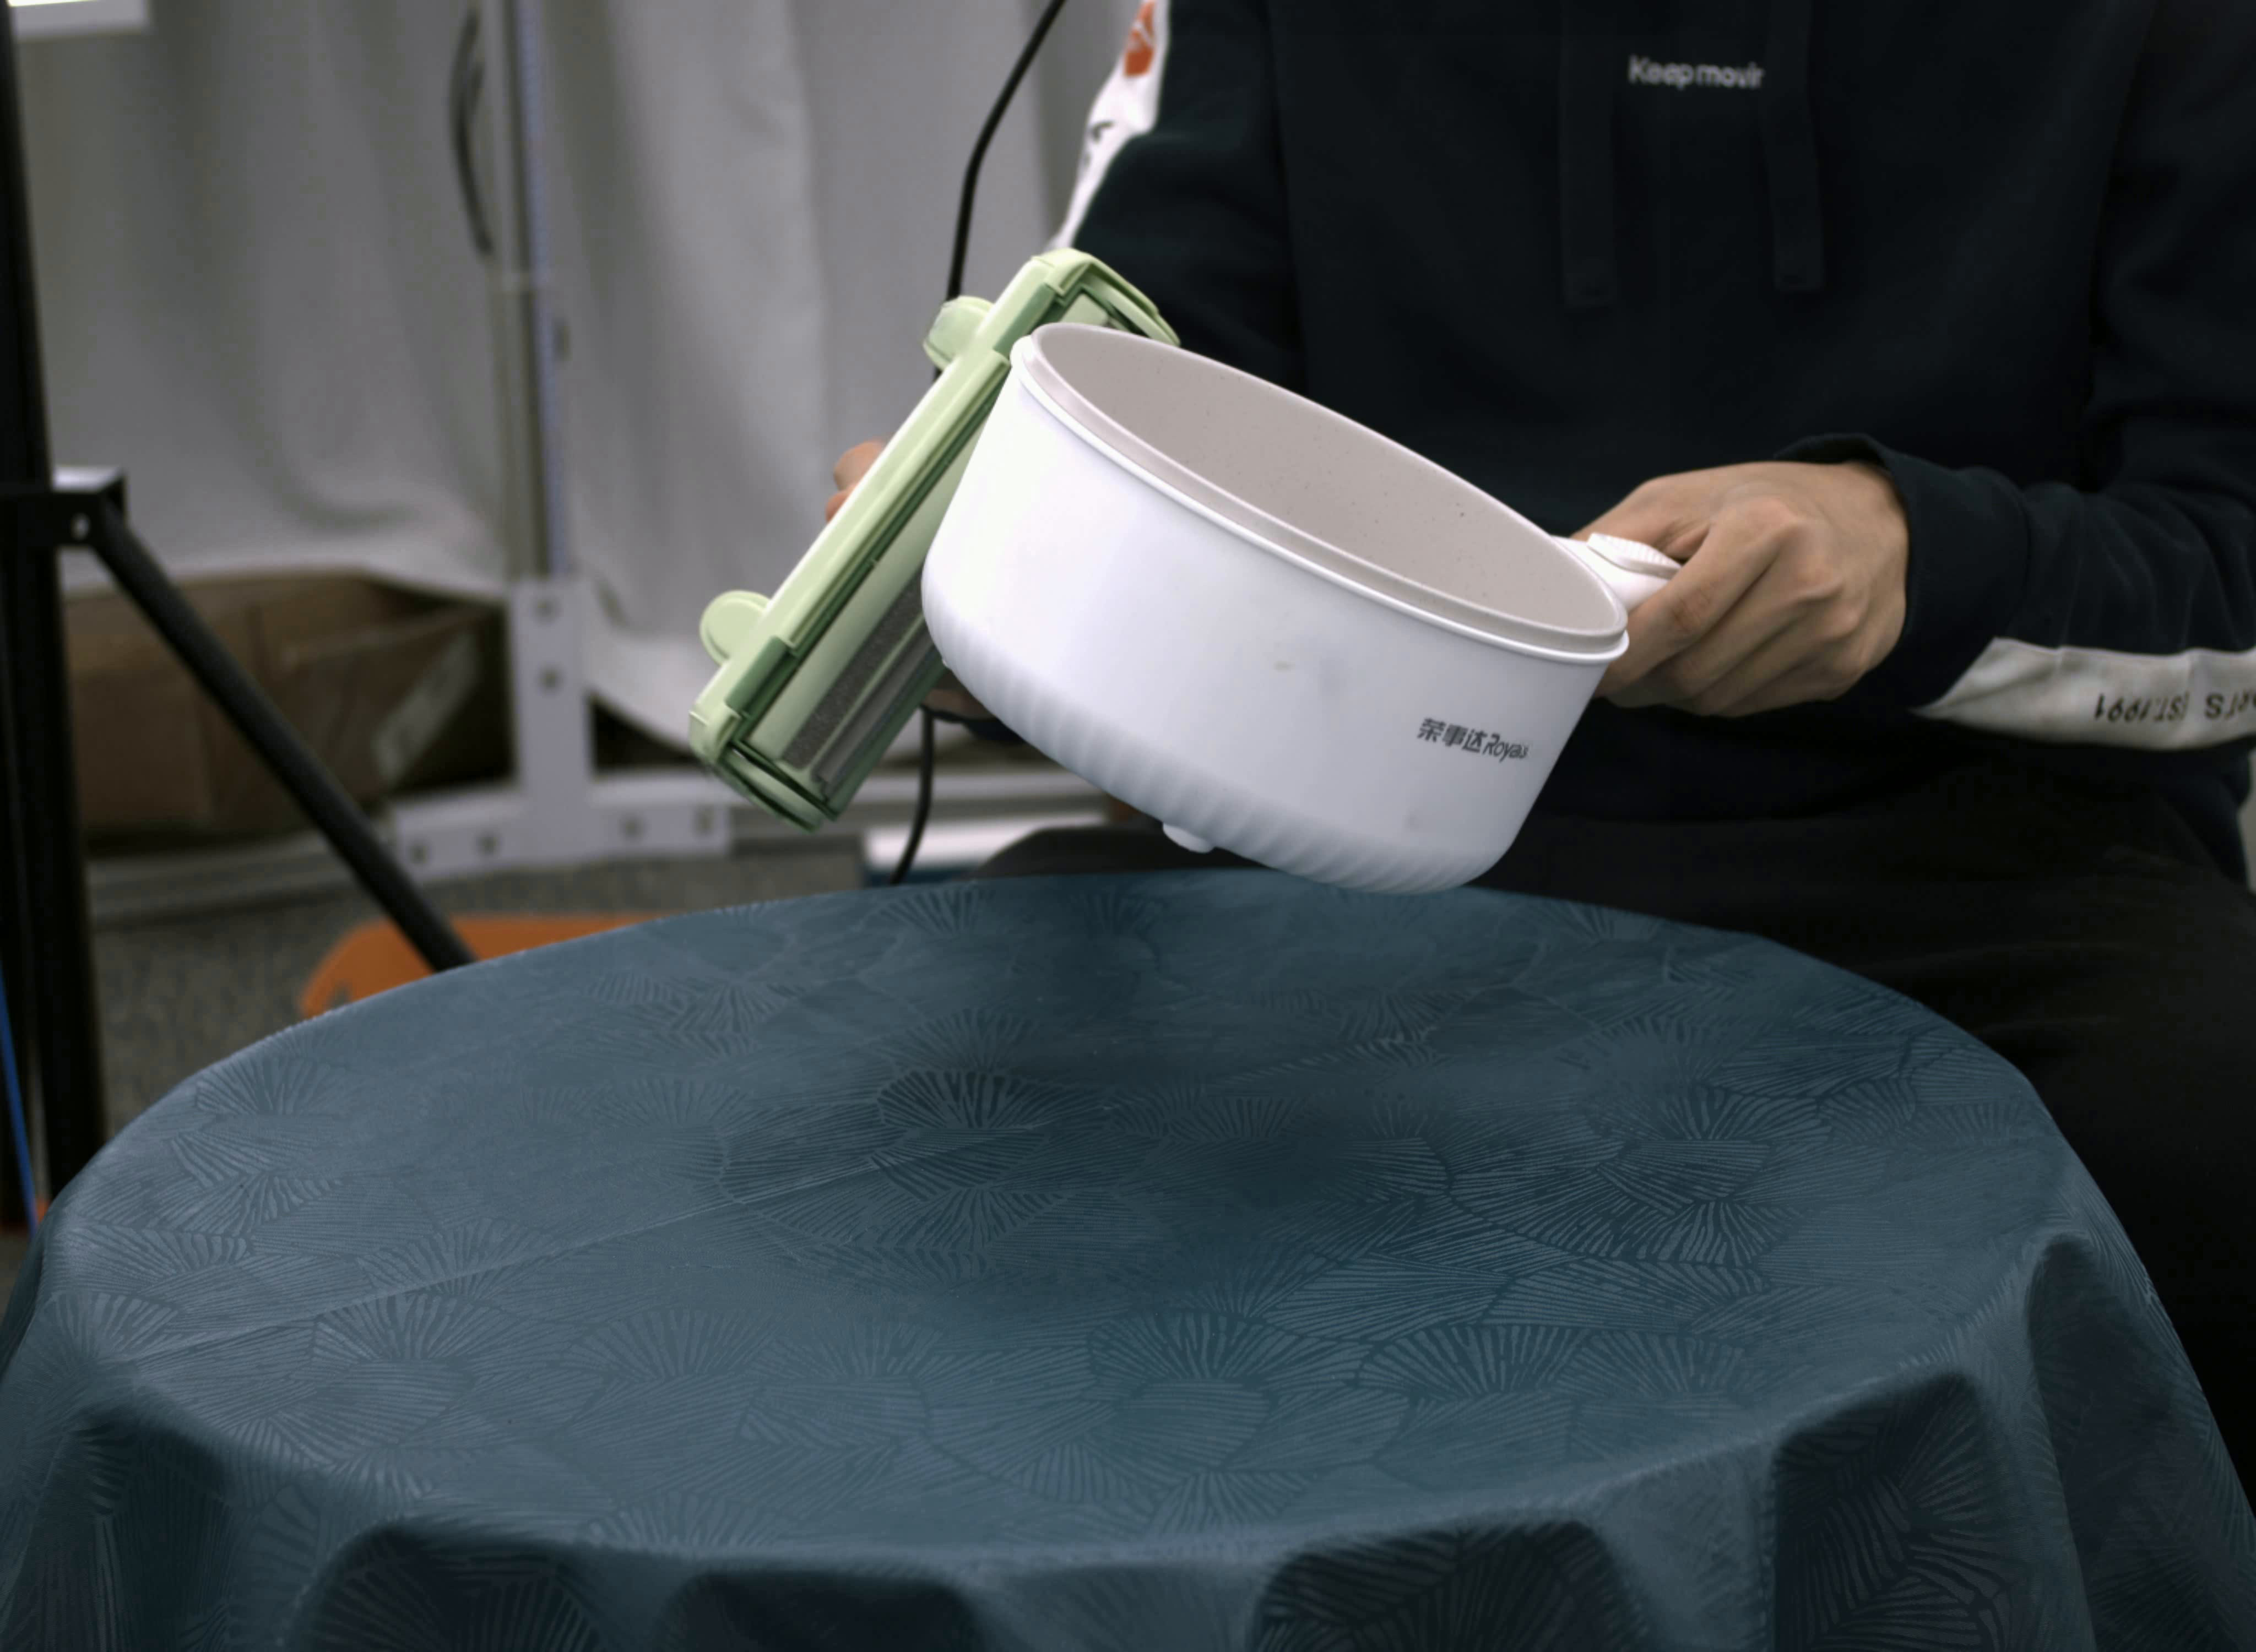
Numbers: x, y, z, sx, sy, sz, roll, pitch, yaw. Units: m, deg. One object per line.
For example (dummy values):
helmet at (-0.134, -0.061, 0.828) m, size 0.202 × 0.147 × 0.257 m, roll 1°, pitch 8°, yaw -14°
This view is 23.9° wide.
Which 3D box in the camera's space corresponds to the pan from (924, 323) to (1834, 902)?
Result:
pan at (0.087, -0.050, 1.625) m, size 0.345 × 0.102 × 0.206 m, roll 10°, pitch 22°, yaw -48°

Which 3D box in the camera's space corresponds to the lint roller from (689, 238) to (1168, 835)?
lint roller at (-0.063, -0.086, 1.705) m, size 0.083 × 0.199 × 0.182 m, roll 35°, pitch -3°, yaw 9°
